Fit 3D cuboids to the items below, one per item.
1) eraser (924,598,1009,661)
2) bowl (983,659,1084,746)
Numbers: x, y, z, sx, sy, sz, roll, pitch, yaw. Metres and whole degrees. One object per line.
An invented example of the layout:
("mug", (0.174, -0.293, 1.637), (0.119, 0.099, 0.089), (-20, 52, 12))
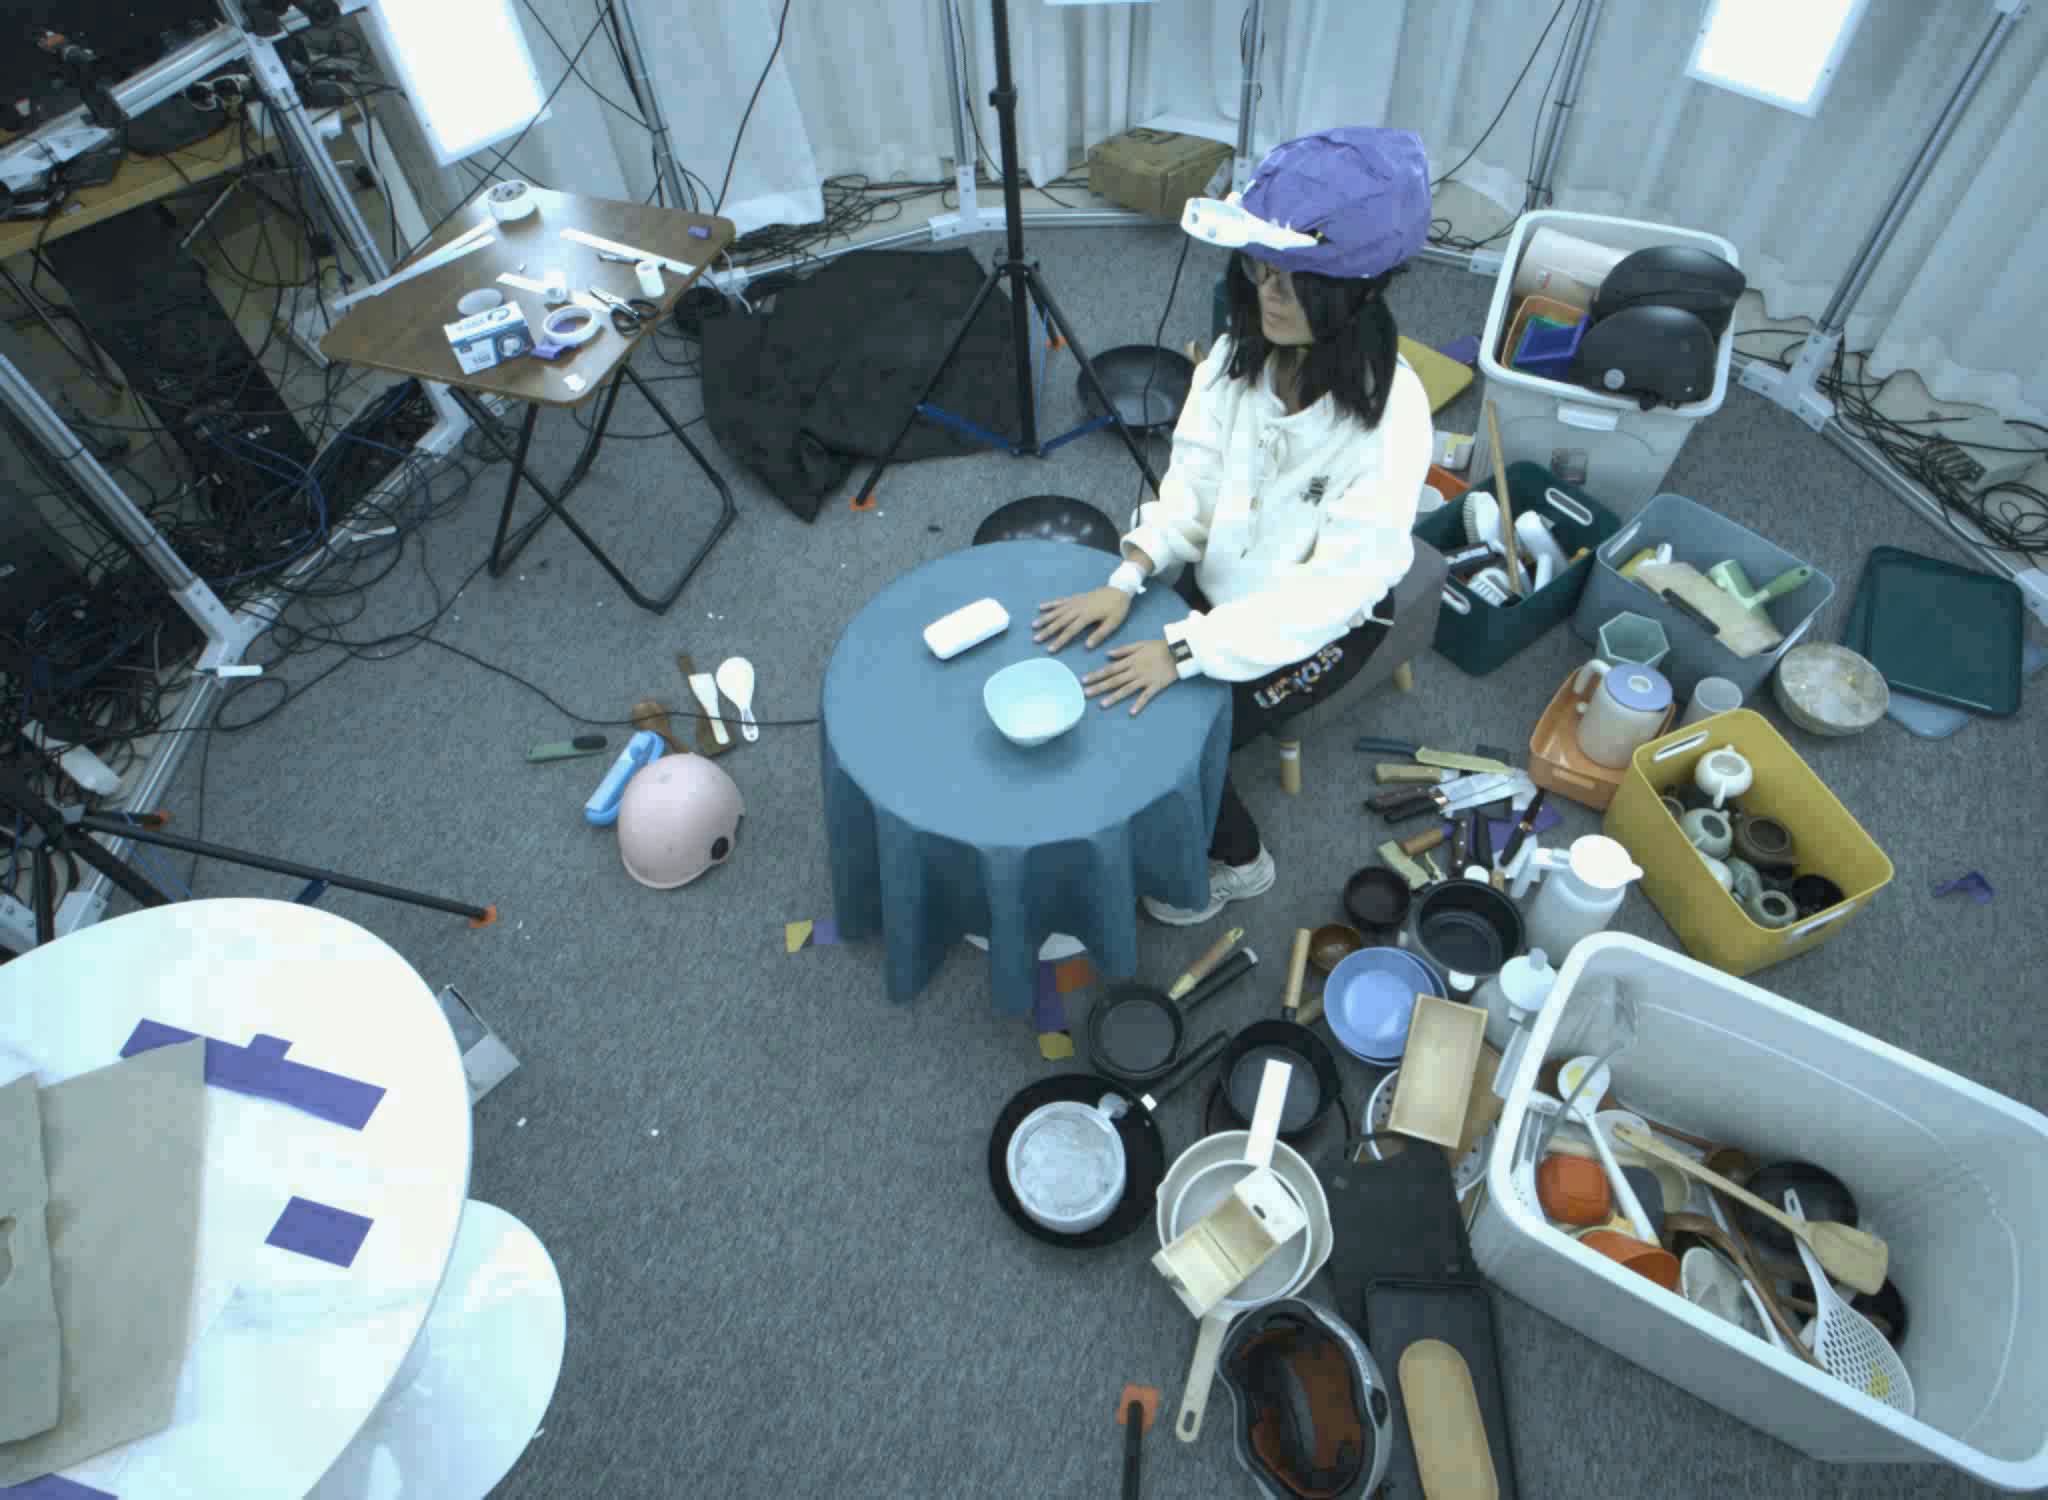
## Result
("eraser", (-0.088, -0.187, 1.905), (0.132, 0.035, 0.062), (-29, 58, -16))
("bowl", (0.014, -0.060, 1.799), (0.151, 0.059, 0.150), (1, 55, 0))
